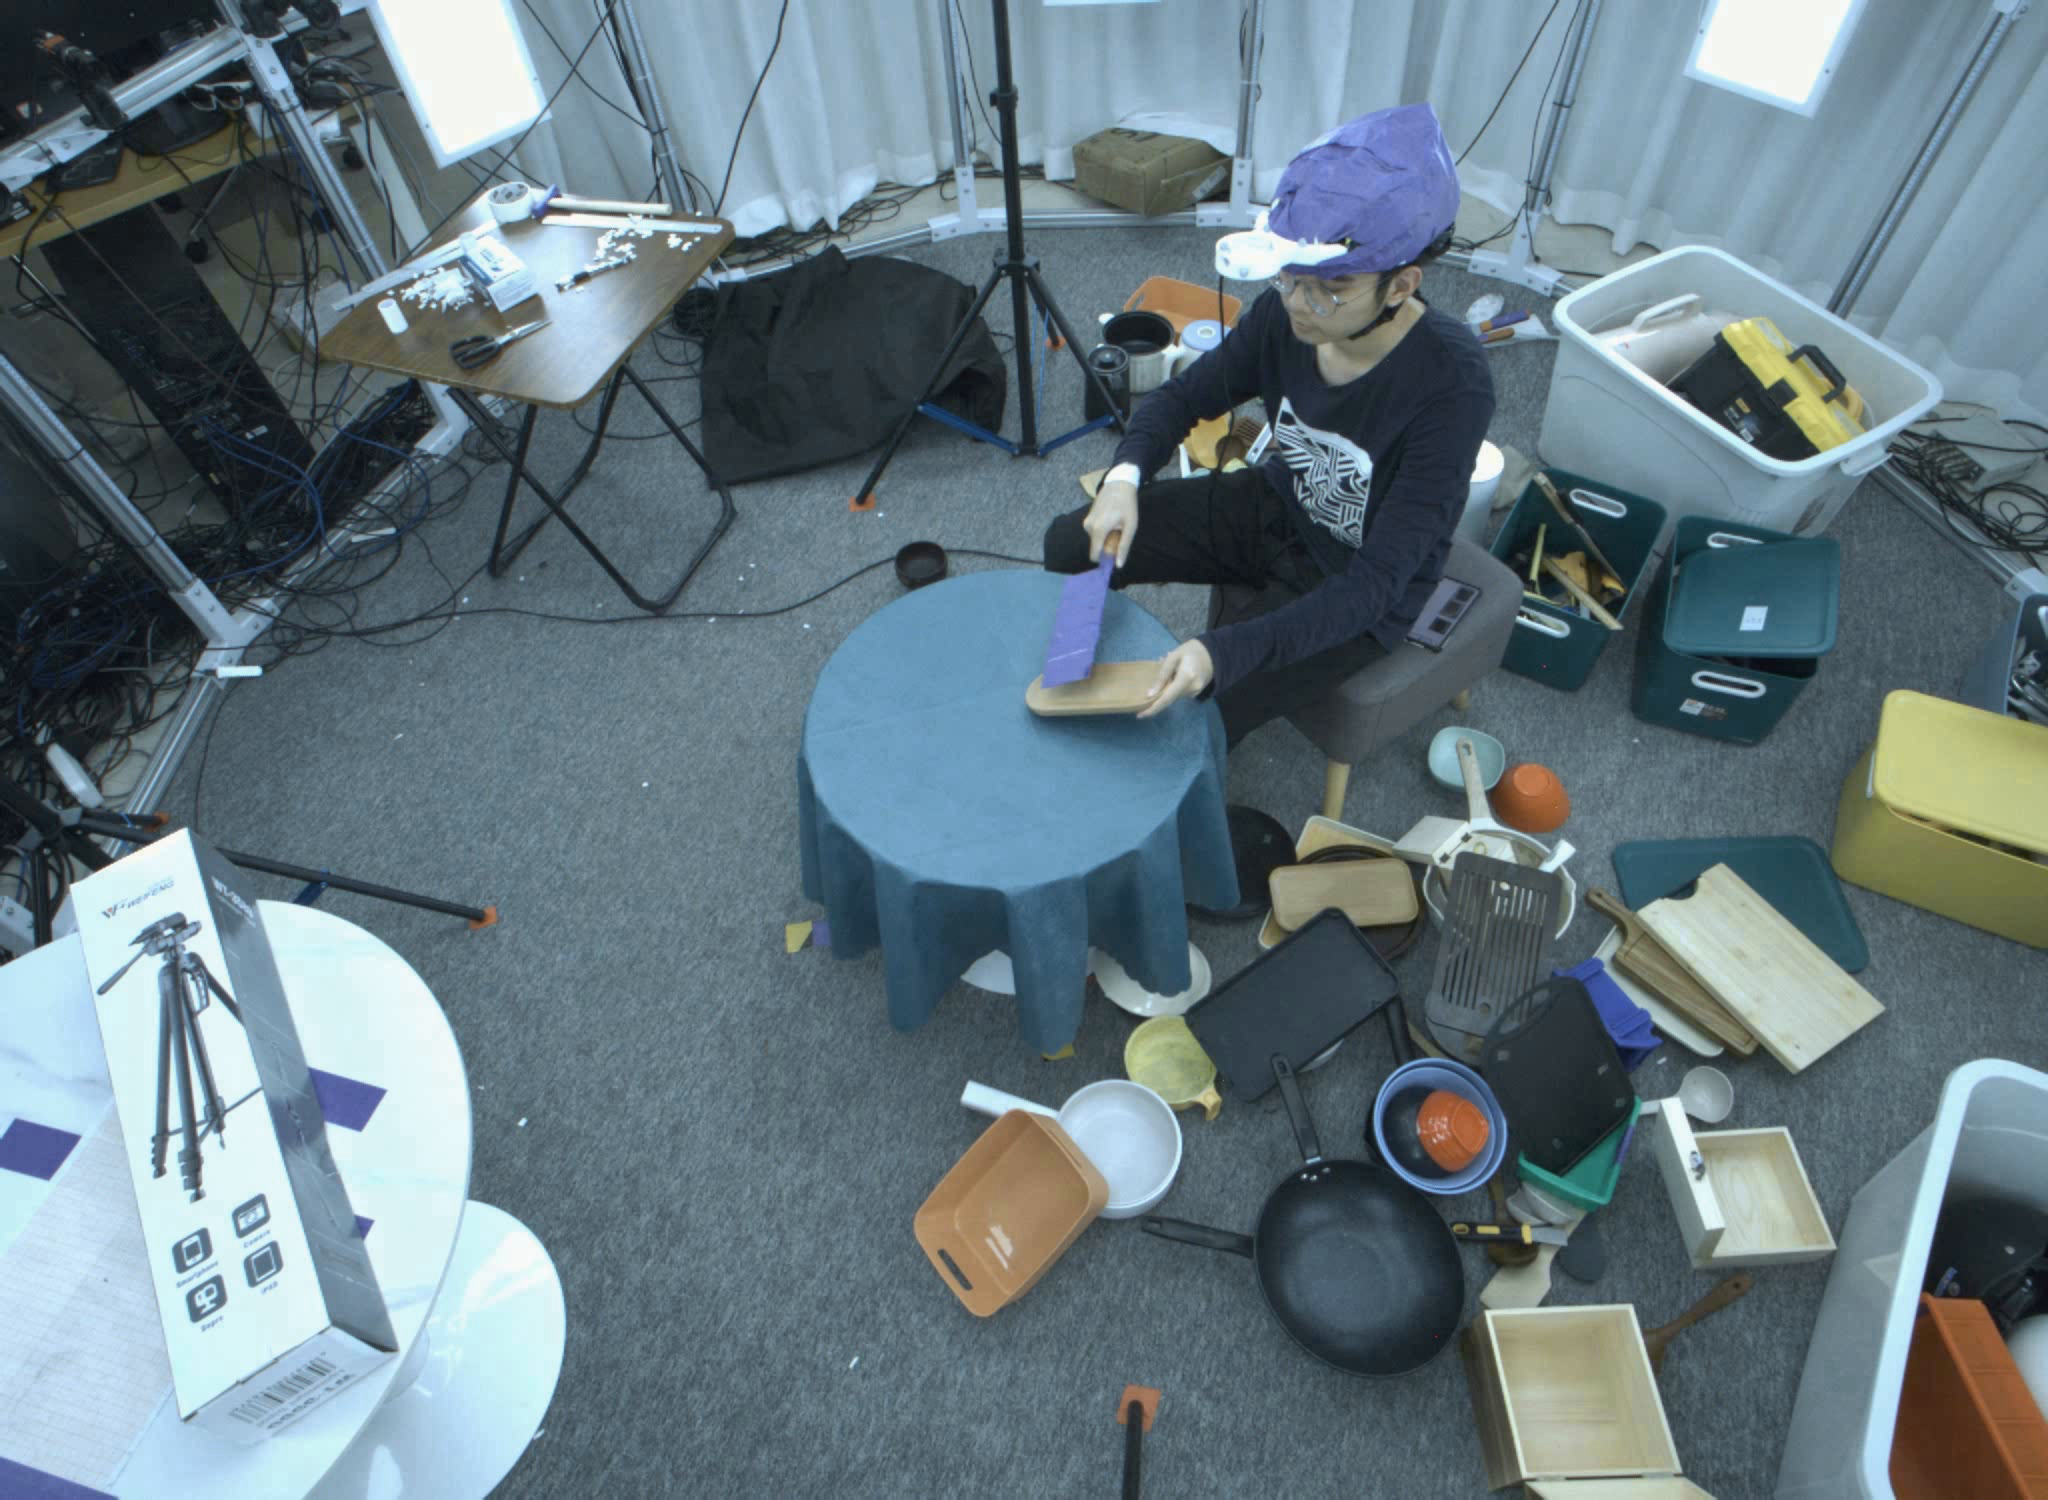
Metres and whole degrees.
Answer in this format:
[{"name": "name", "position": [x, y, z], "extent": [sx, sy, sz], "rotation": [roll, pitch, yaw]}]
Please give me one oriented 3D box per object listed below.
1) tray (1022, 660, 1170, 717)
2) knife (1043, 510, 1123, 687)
[{"name": "tray", "position": [0.104, -0.088, 1.799], "extent": [0.227, 0.021, 0.101], "rotation": [-4, 41, 27]}, {"name": "knife", "position": [0.085, -0.232, 1.855], "extent": [0.102, 0.033, 0.313], "rotation": [-10, 52, 35]}]
